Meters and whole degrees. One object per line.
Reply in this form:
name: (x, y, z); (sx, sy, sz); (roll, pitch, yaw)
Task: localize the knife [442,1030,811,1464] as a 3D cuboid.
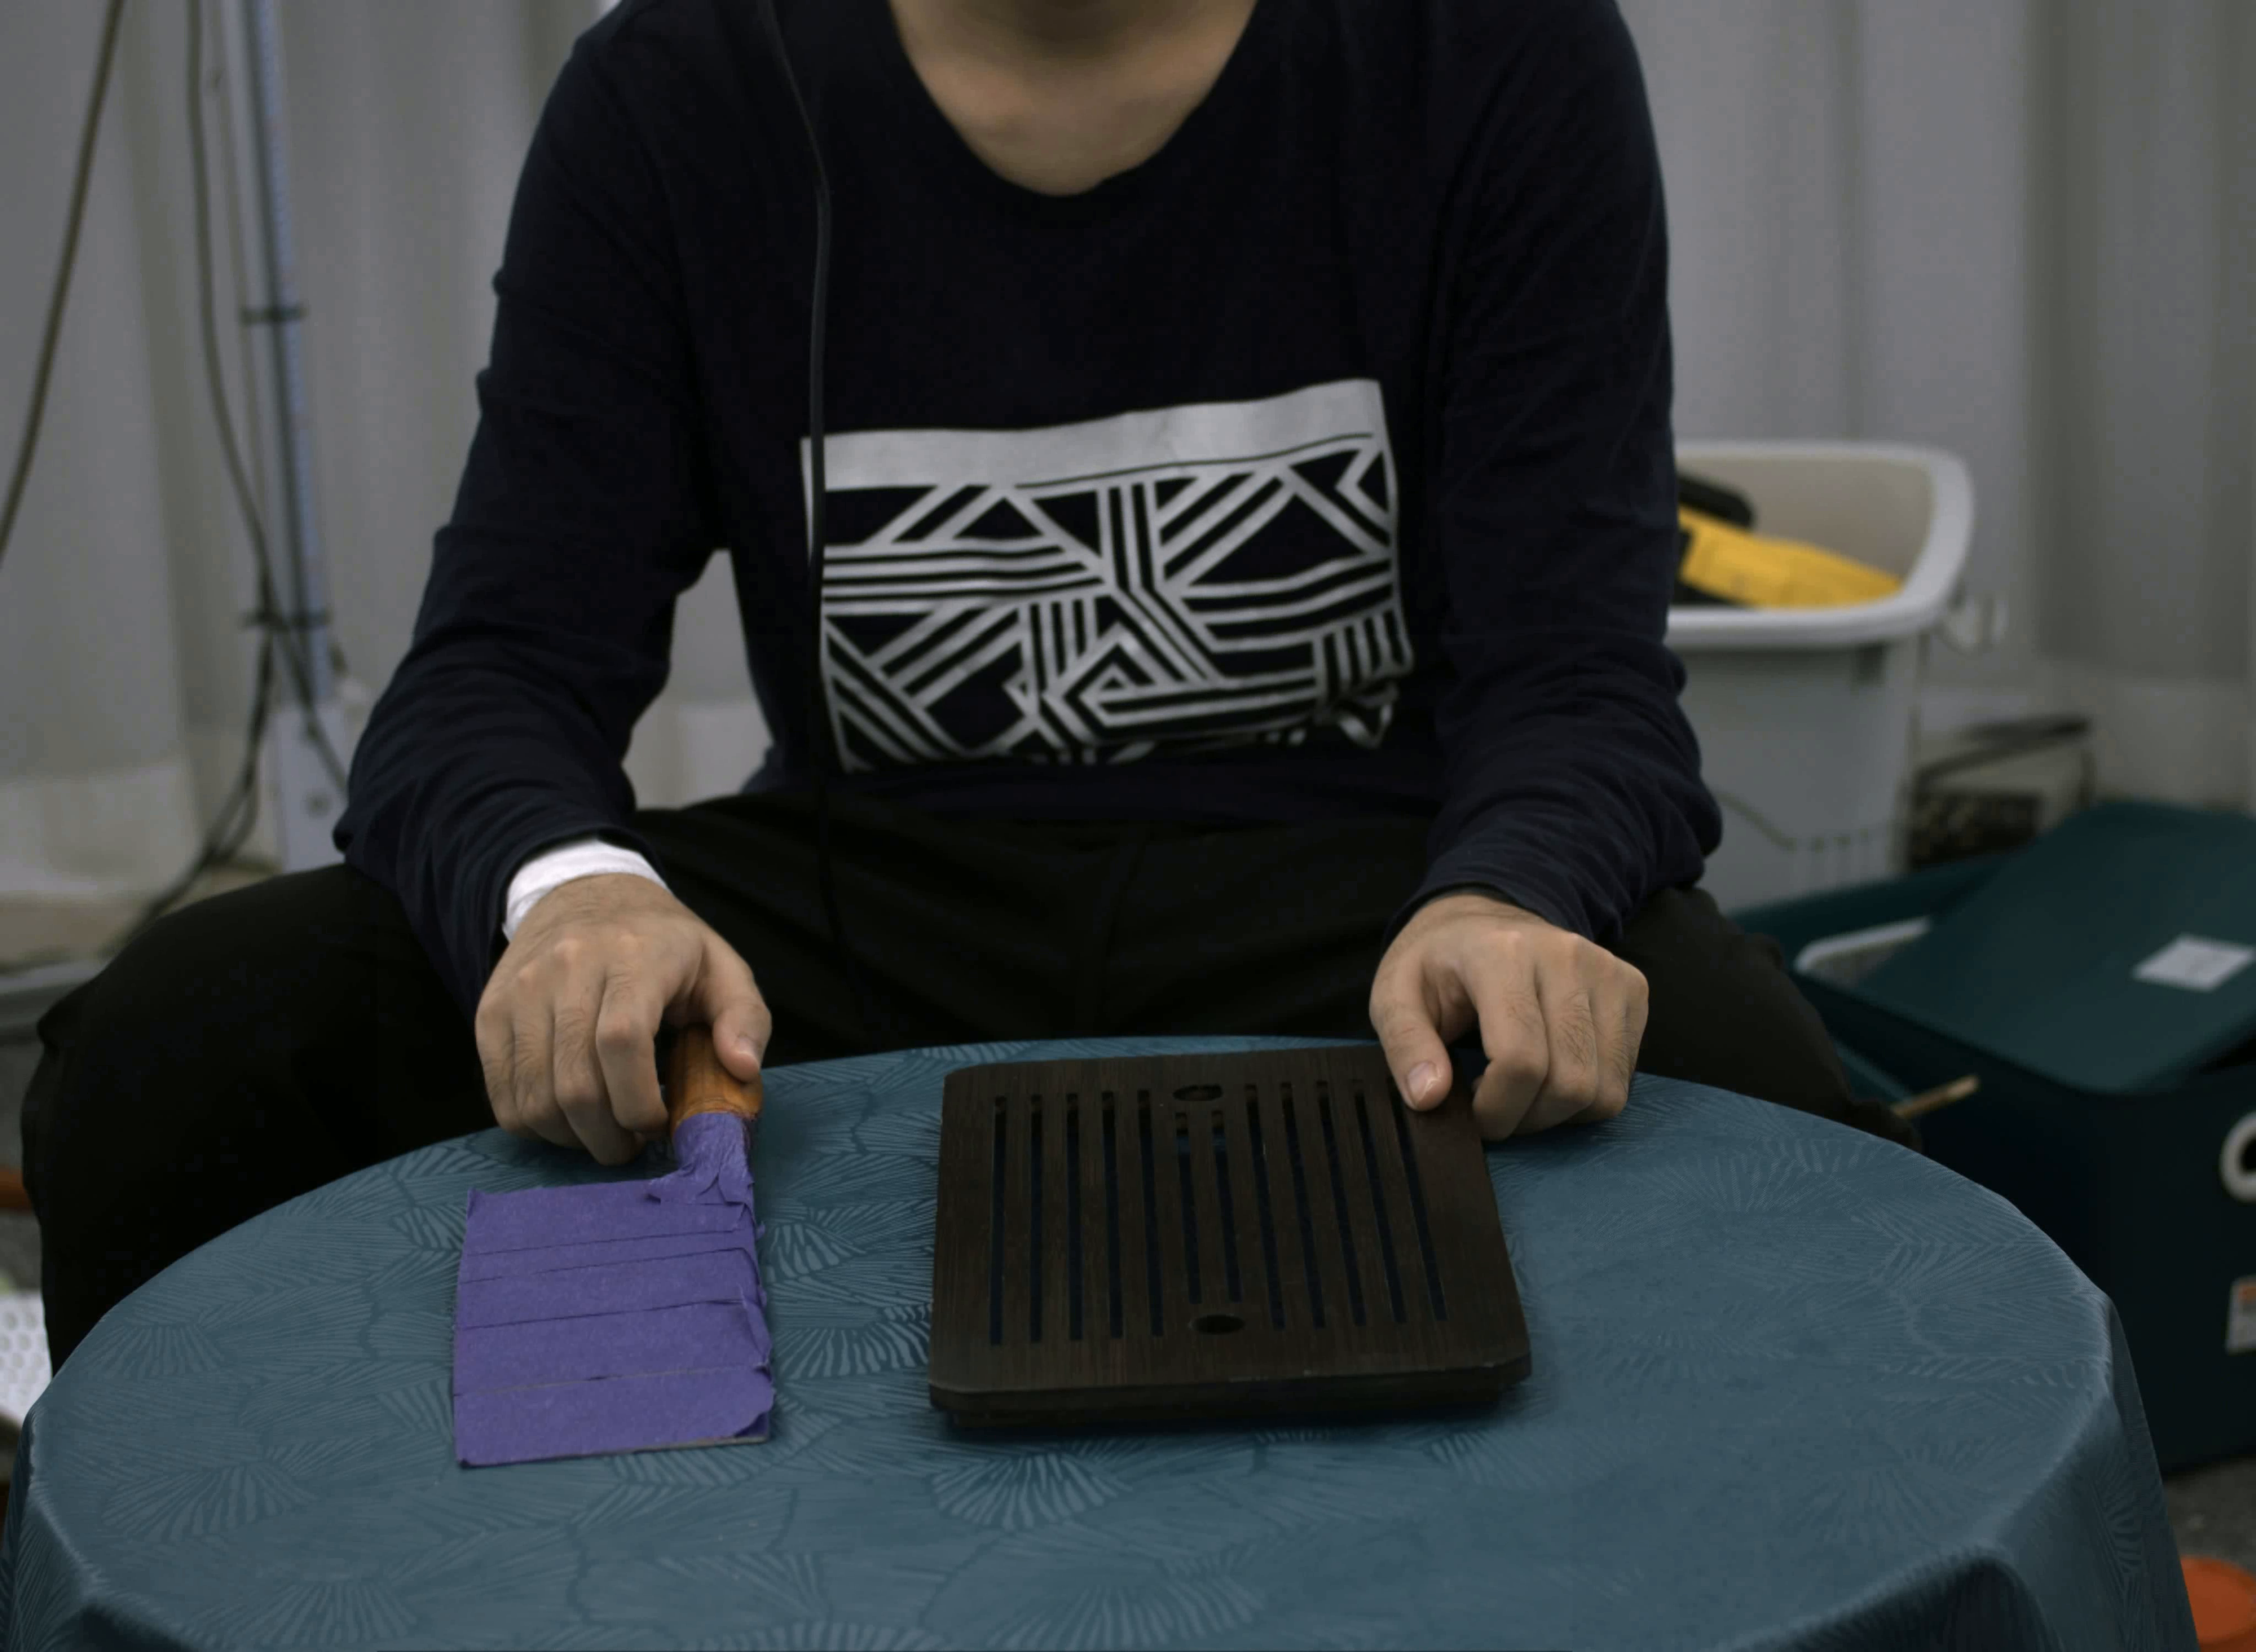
knife: (-0.156, 0.124, 1.661); (0.103, 0.032, 0.317); (-4, 15, -5)

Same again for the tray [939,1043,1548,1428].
tray: (0.030, 0.121, 1.654); (0.169, 0.018, 0.308); (-3, 15, 0)
